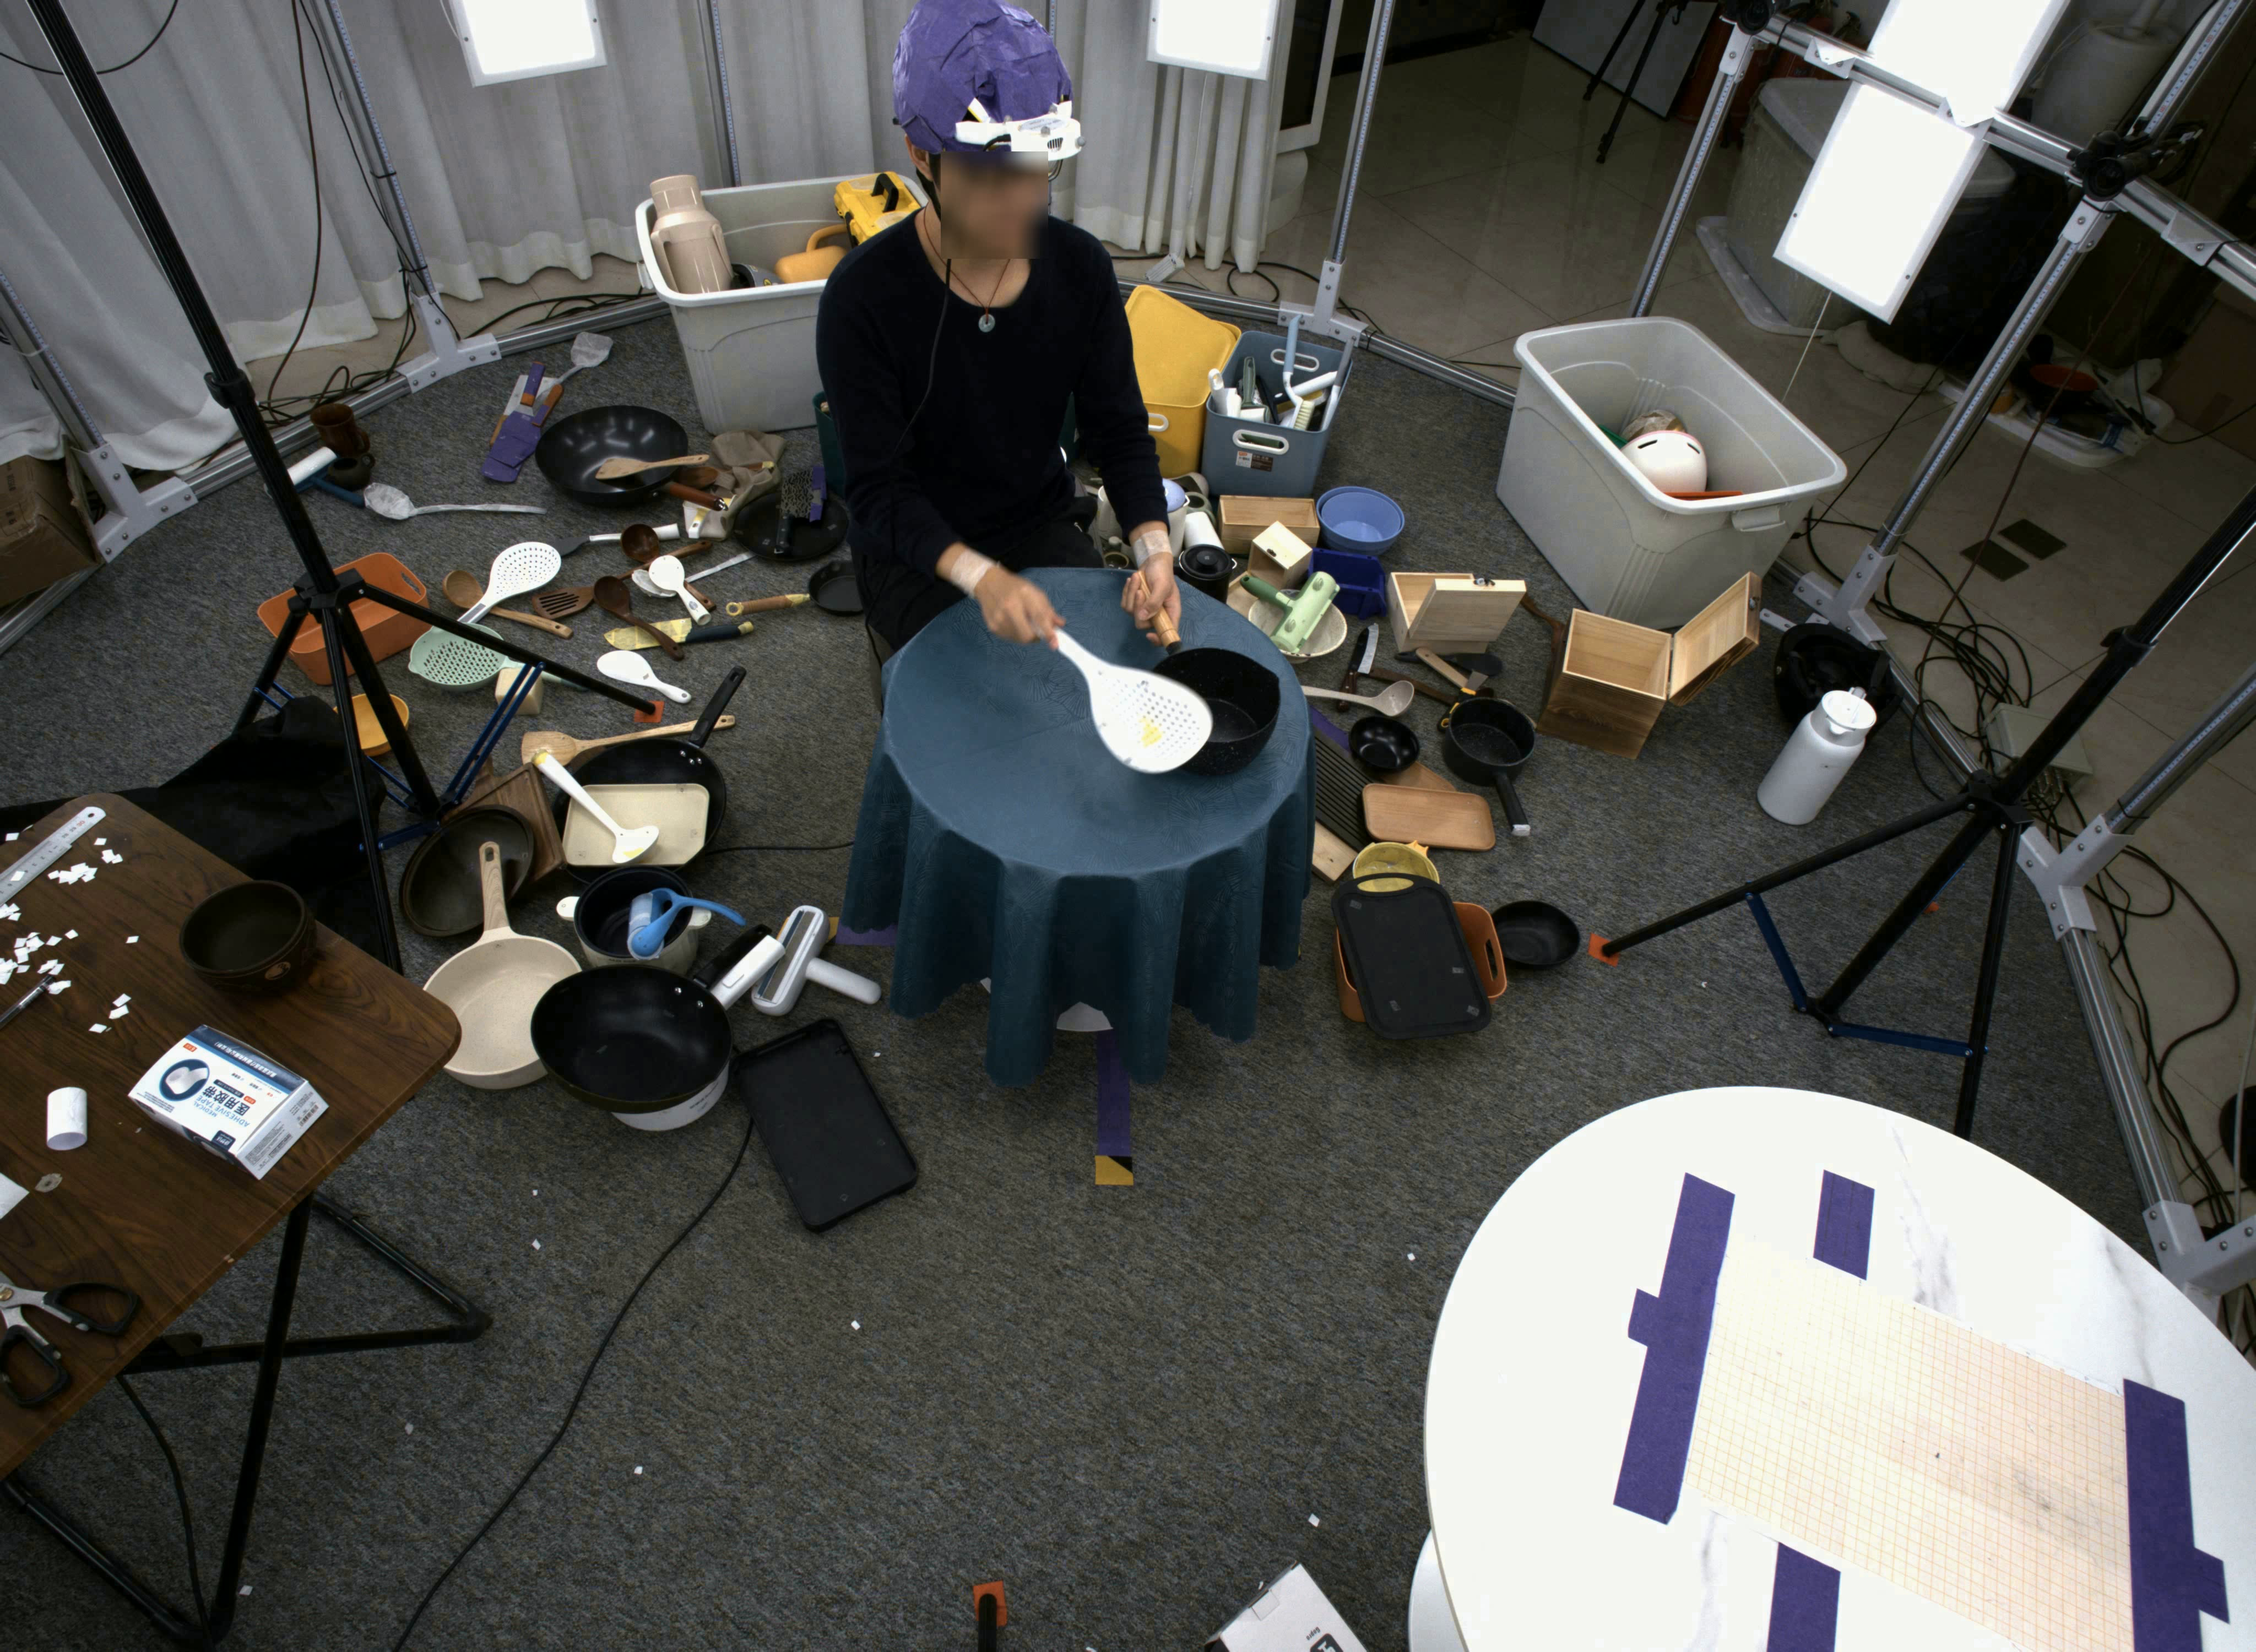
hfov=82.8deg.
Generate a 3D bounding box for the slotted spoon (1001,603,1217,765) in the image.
[{"bbox_3d":[-0.036,-0.201,1.675,0.351,0.049,0.138,42,69,16],"label":"slotted spoon"}]

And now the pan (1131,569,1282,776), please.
[{"bbox_3d":[0.079,-0.215,1.792,0.208,0.105,0.350,-18,53,-17],"label":"pan"}]
